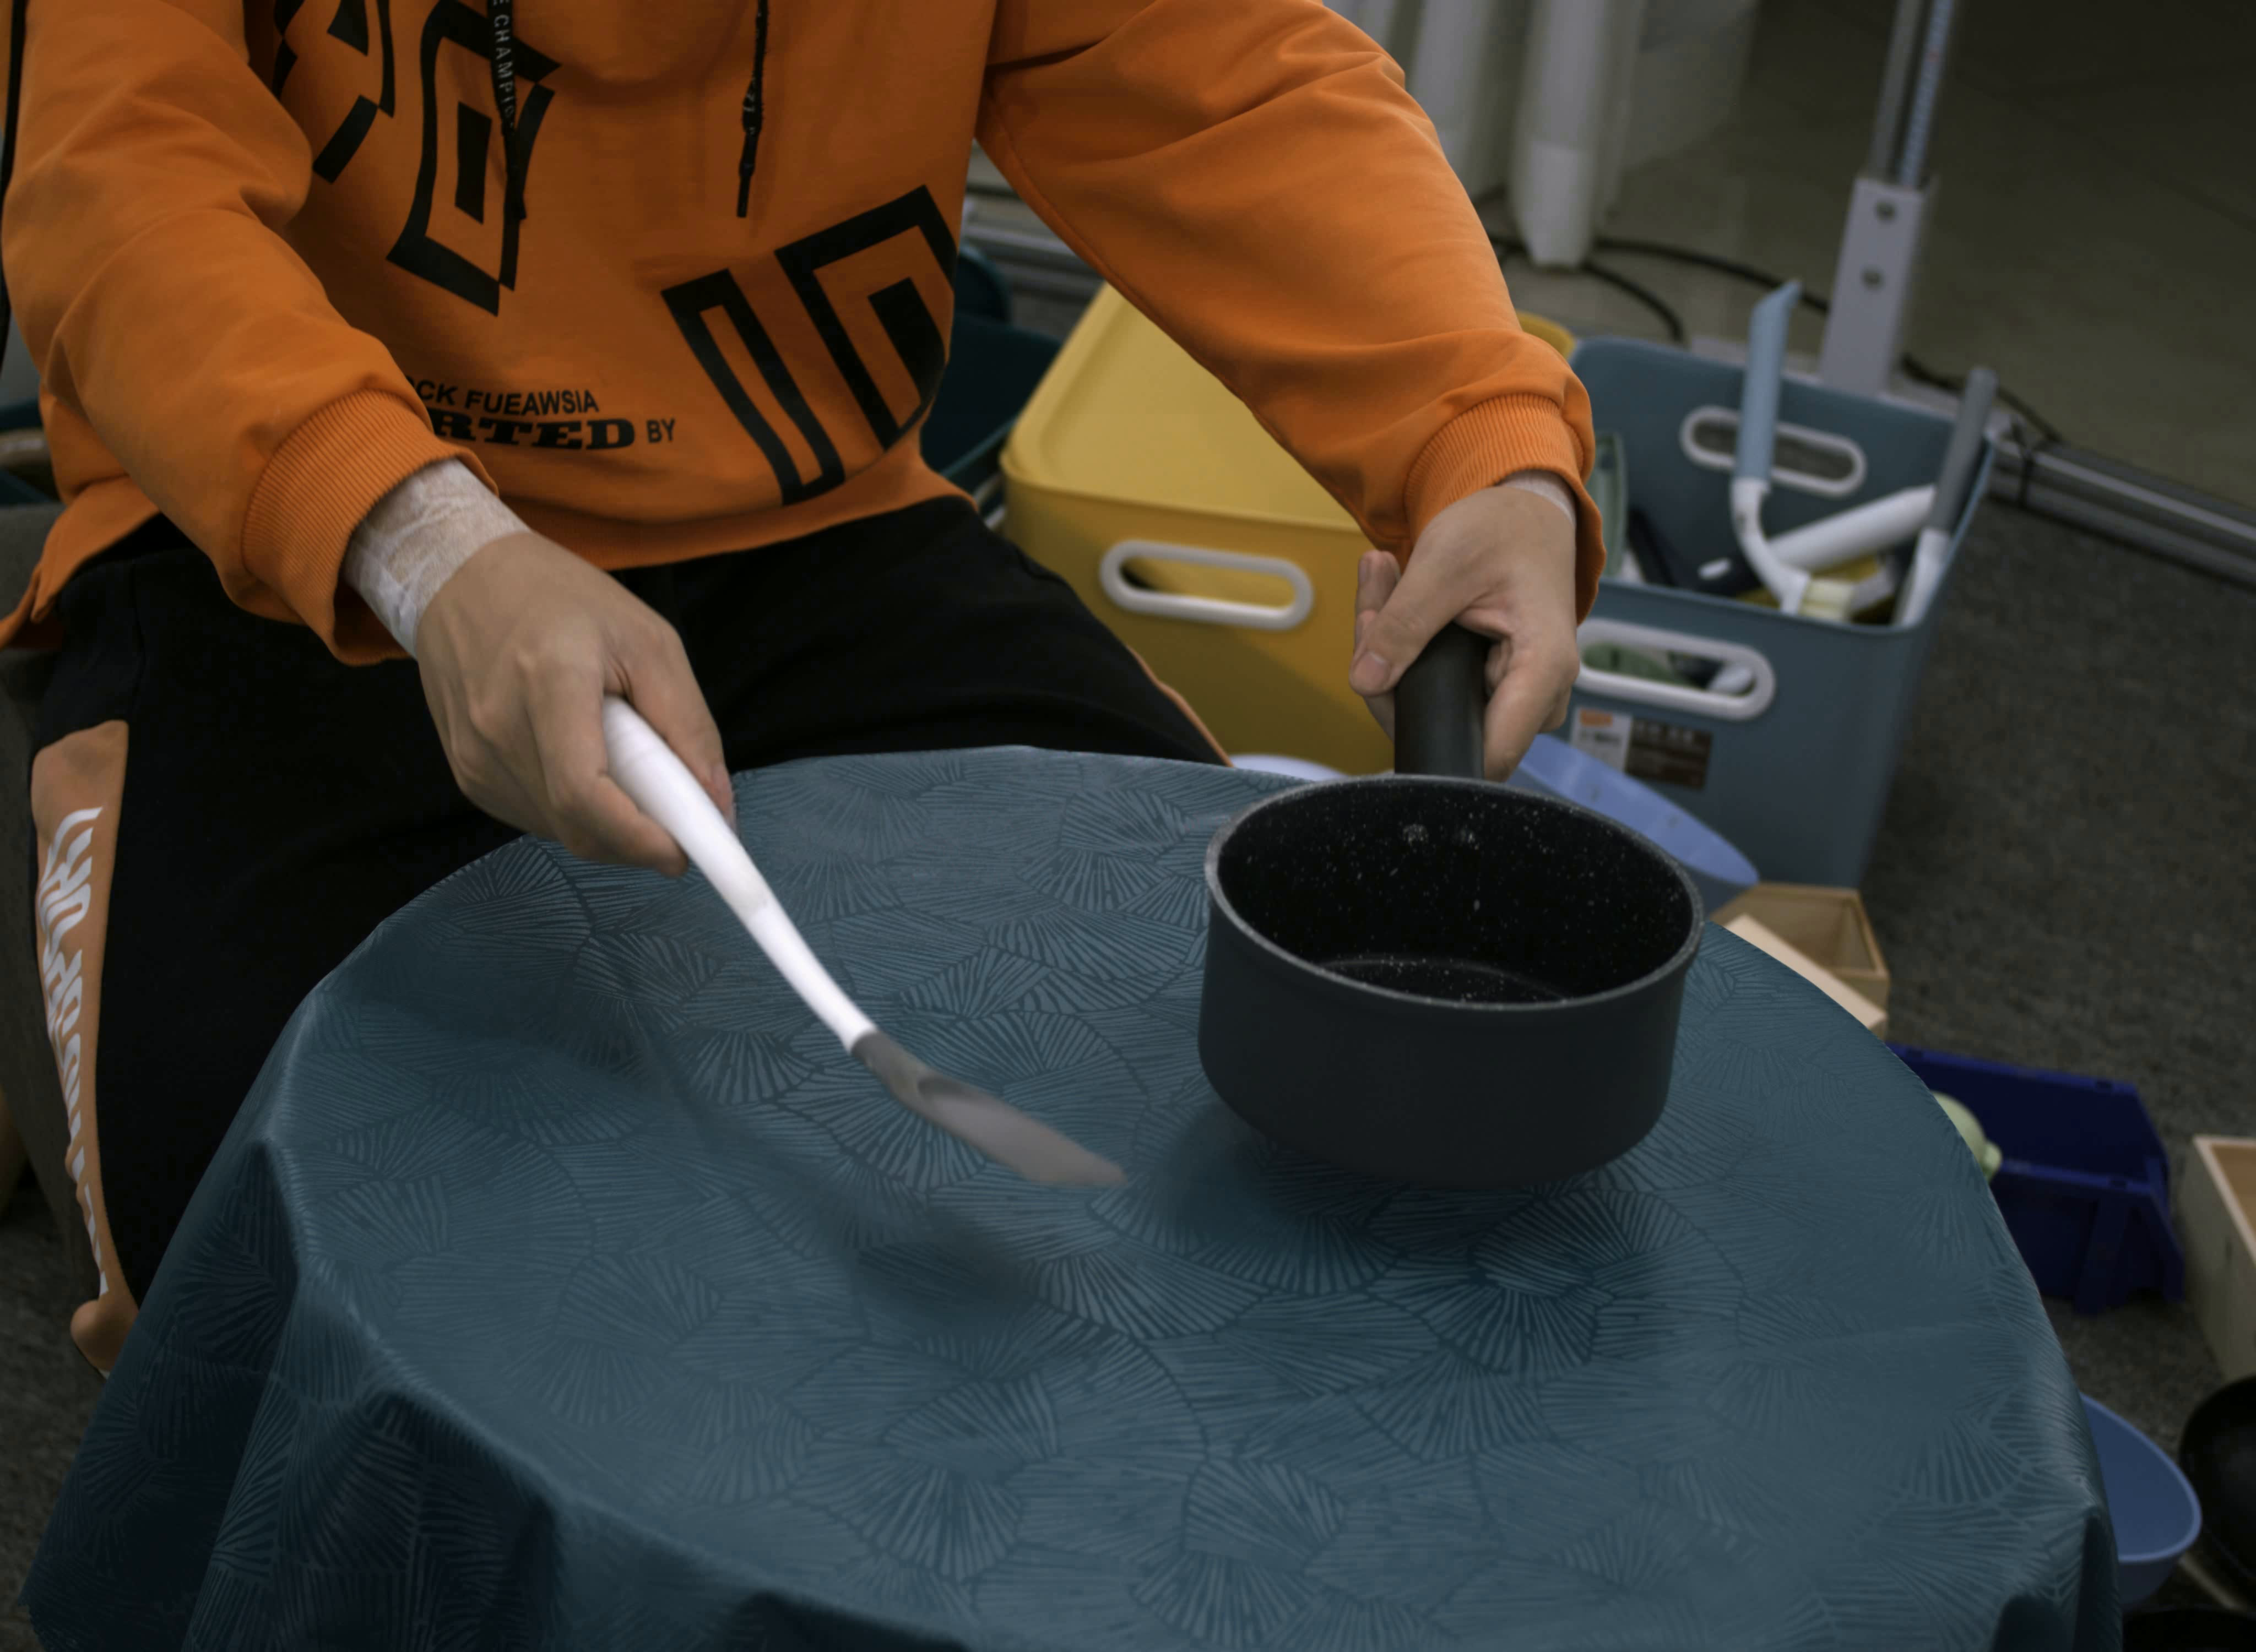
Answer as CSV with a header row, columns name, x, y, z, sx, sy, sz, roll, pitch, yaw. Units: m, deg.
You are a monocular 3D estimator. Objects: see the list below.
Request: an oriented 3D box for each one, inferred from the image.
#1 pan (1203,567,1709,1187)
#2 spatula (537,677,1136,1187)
name,x,y,z,sx,sy,sz,roll,pitch,yaw
pan,0.113,0.014,1.885,0.171,0.086,0.330,7,28,2
spatula,-0.104,0.041,1.784,0.290,0.032,0.058,42,19,33
